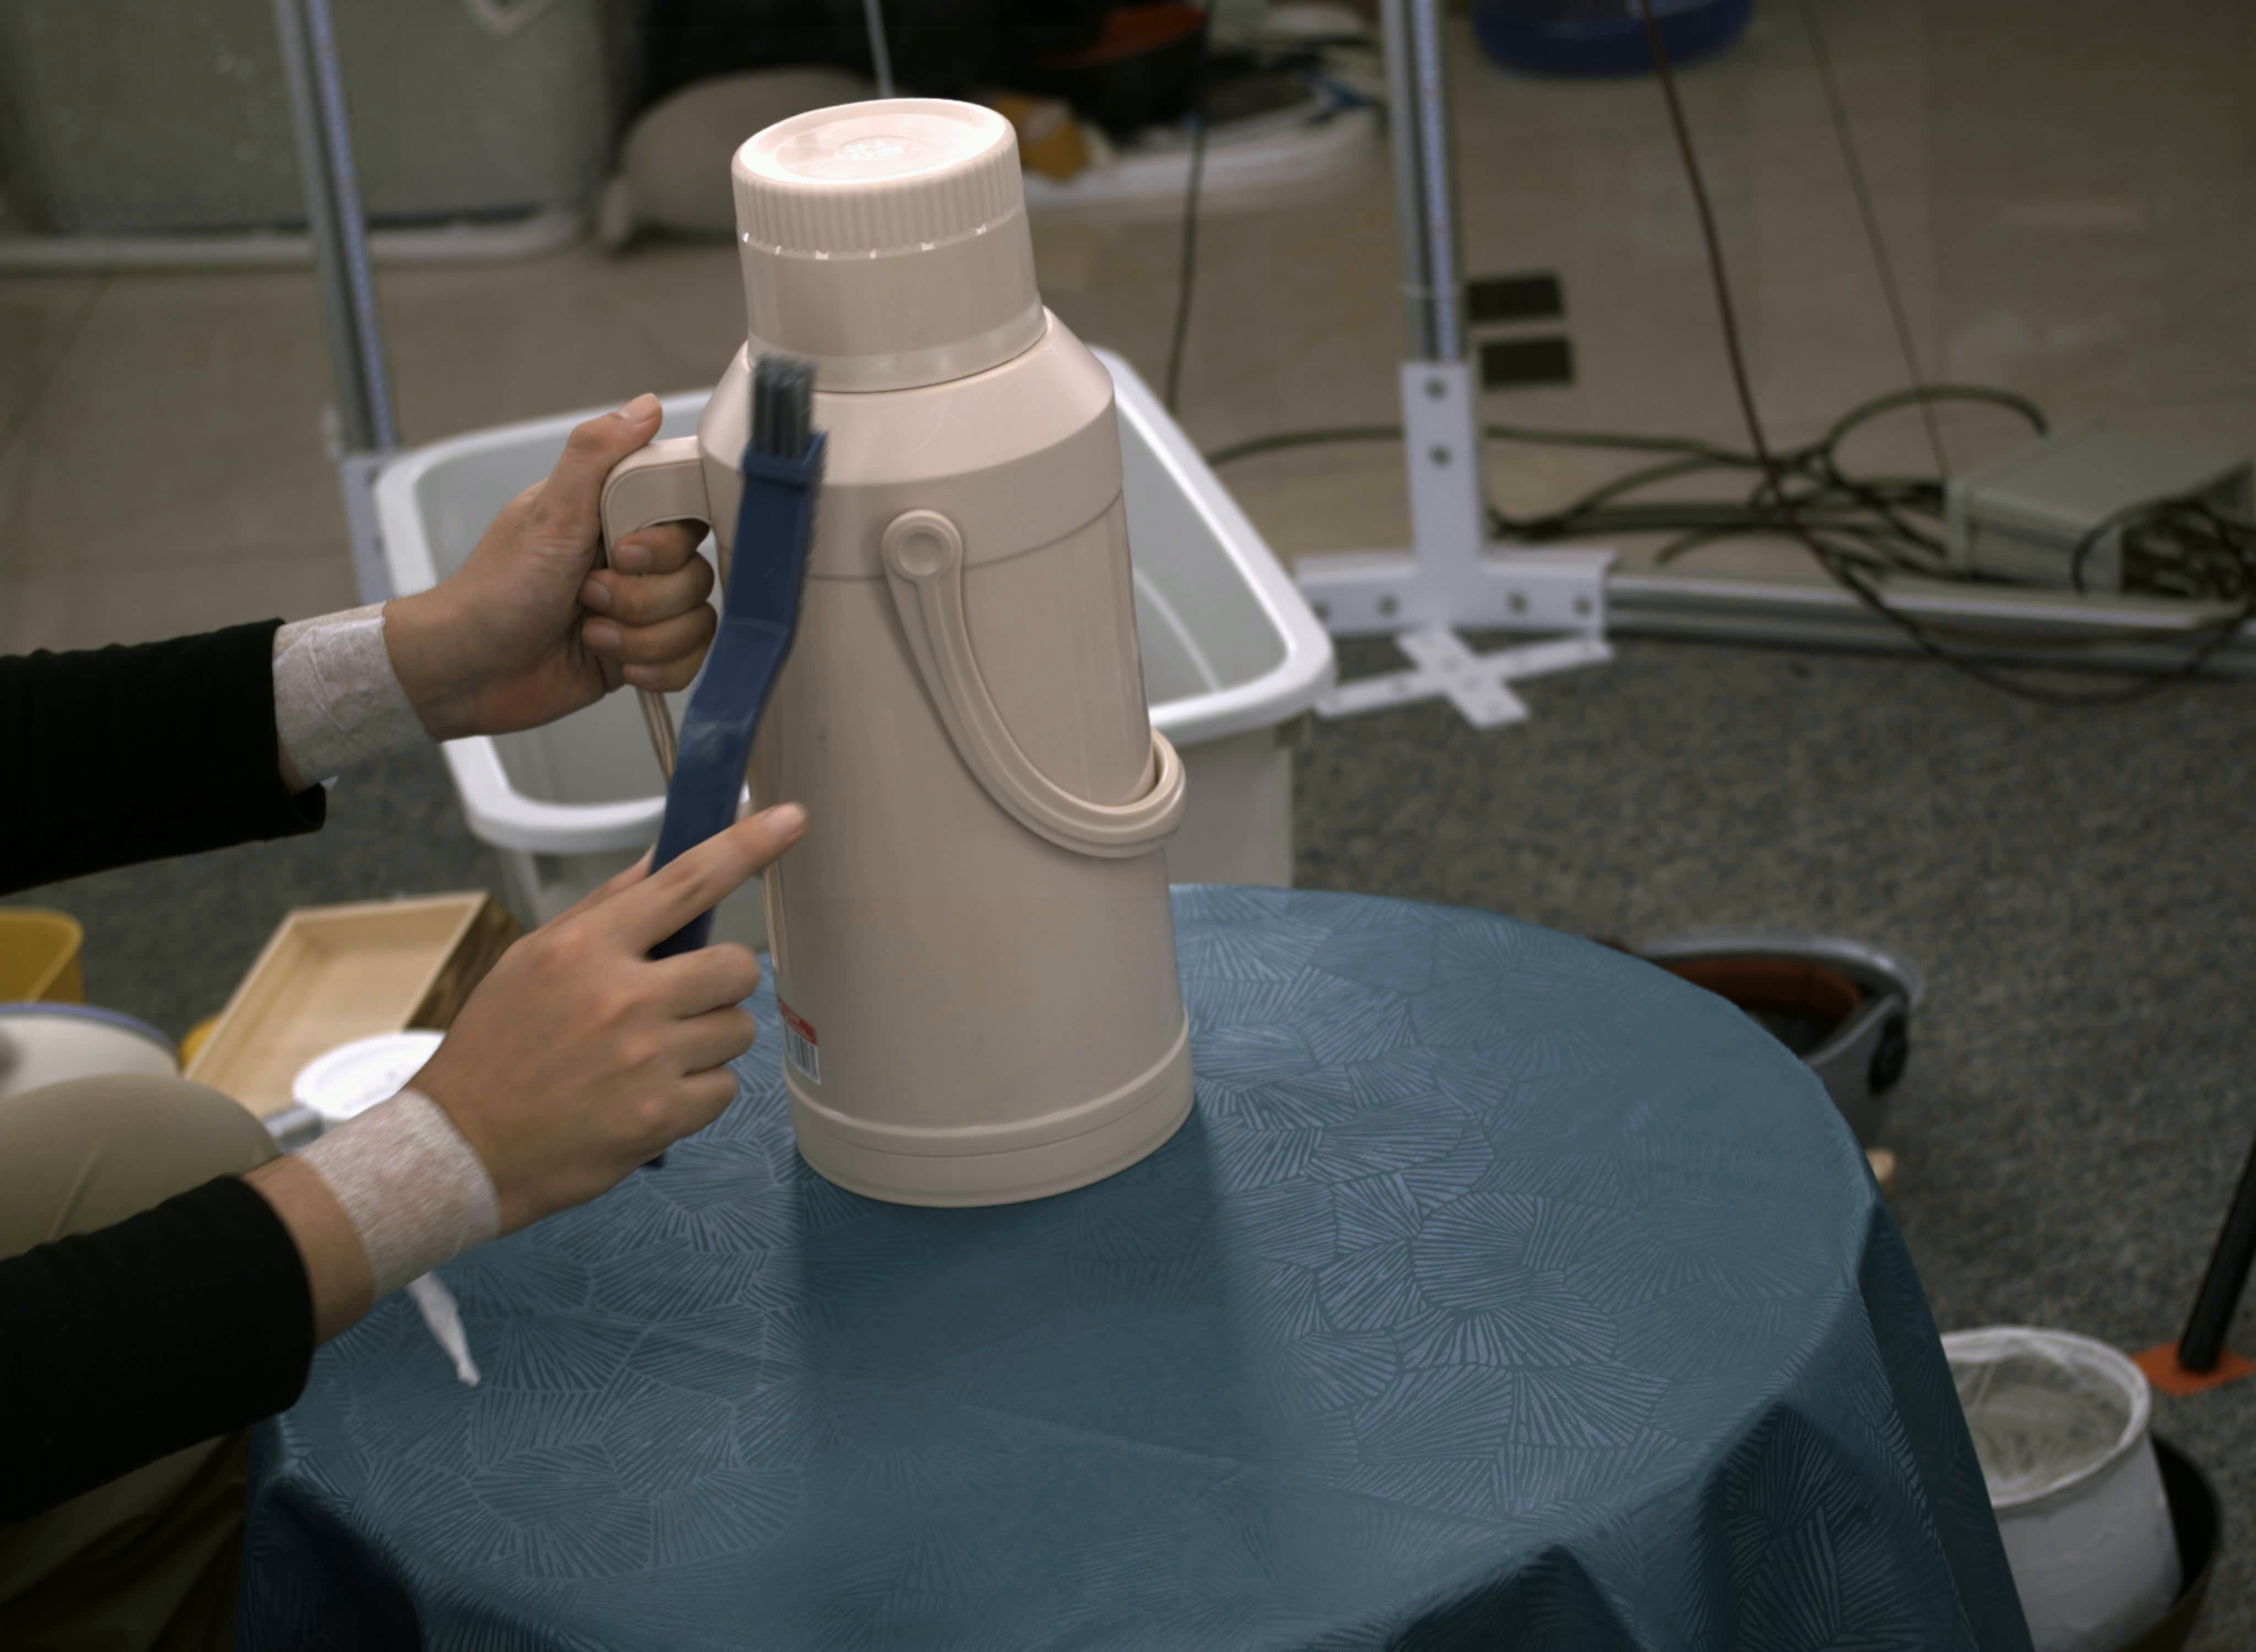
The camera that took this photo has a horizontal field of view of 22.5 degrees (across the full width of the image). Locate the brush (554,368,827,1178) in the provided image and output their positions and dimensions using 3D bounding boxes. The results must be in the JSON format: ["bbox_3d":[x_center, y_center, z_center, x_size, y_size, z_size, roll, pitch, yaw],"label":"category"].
[{"bbox_3d":[-0.150,-0.017,1.946,0.033,0.271,0.096,13,-14,11],"label":"brush"}]

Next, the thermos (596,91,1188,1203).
[{"bbox_3d":[-0.088,-0.067,2.134,0.206,0.413,0.172,-7,27,-2],"label":"thermos"}]
